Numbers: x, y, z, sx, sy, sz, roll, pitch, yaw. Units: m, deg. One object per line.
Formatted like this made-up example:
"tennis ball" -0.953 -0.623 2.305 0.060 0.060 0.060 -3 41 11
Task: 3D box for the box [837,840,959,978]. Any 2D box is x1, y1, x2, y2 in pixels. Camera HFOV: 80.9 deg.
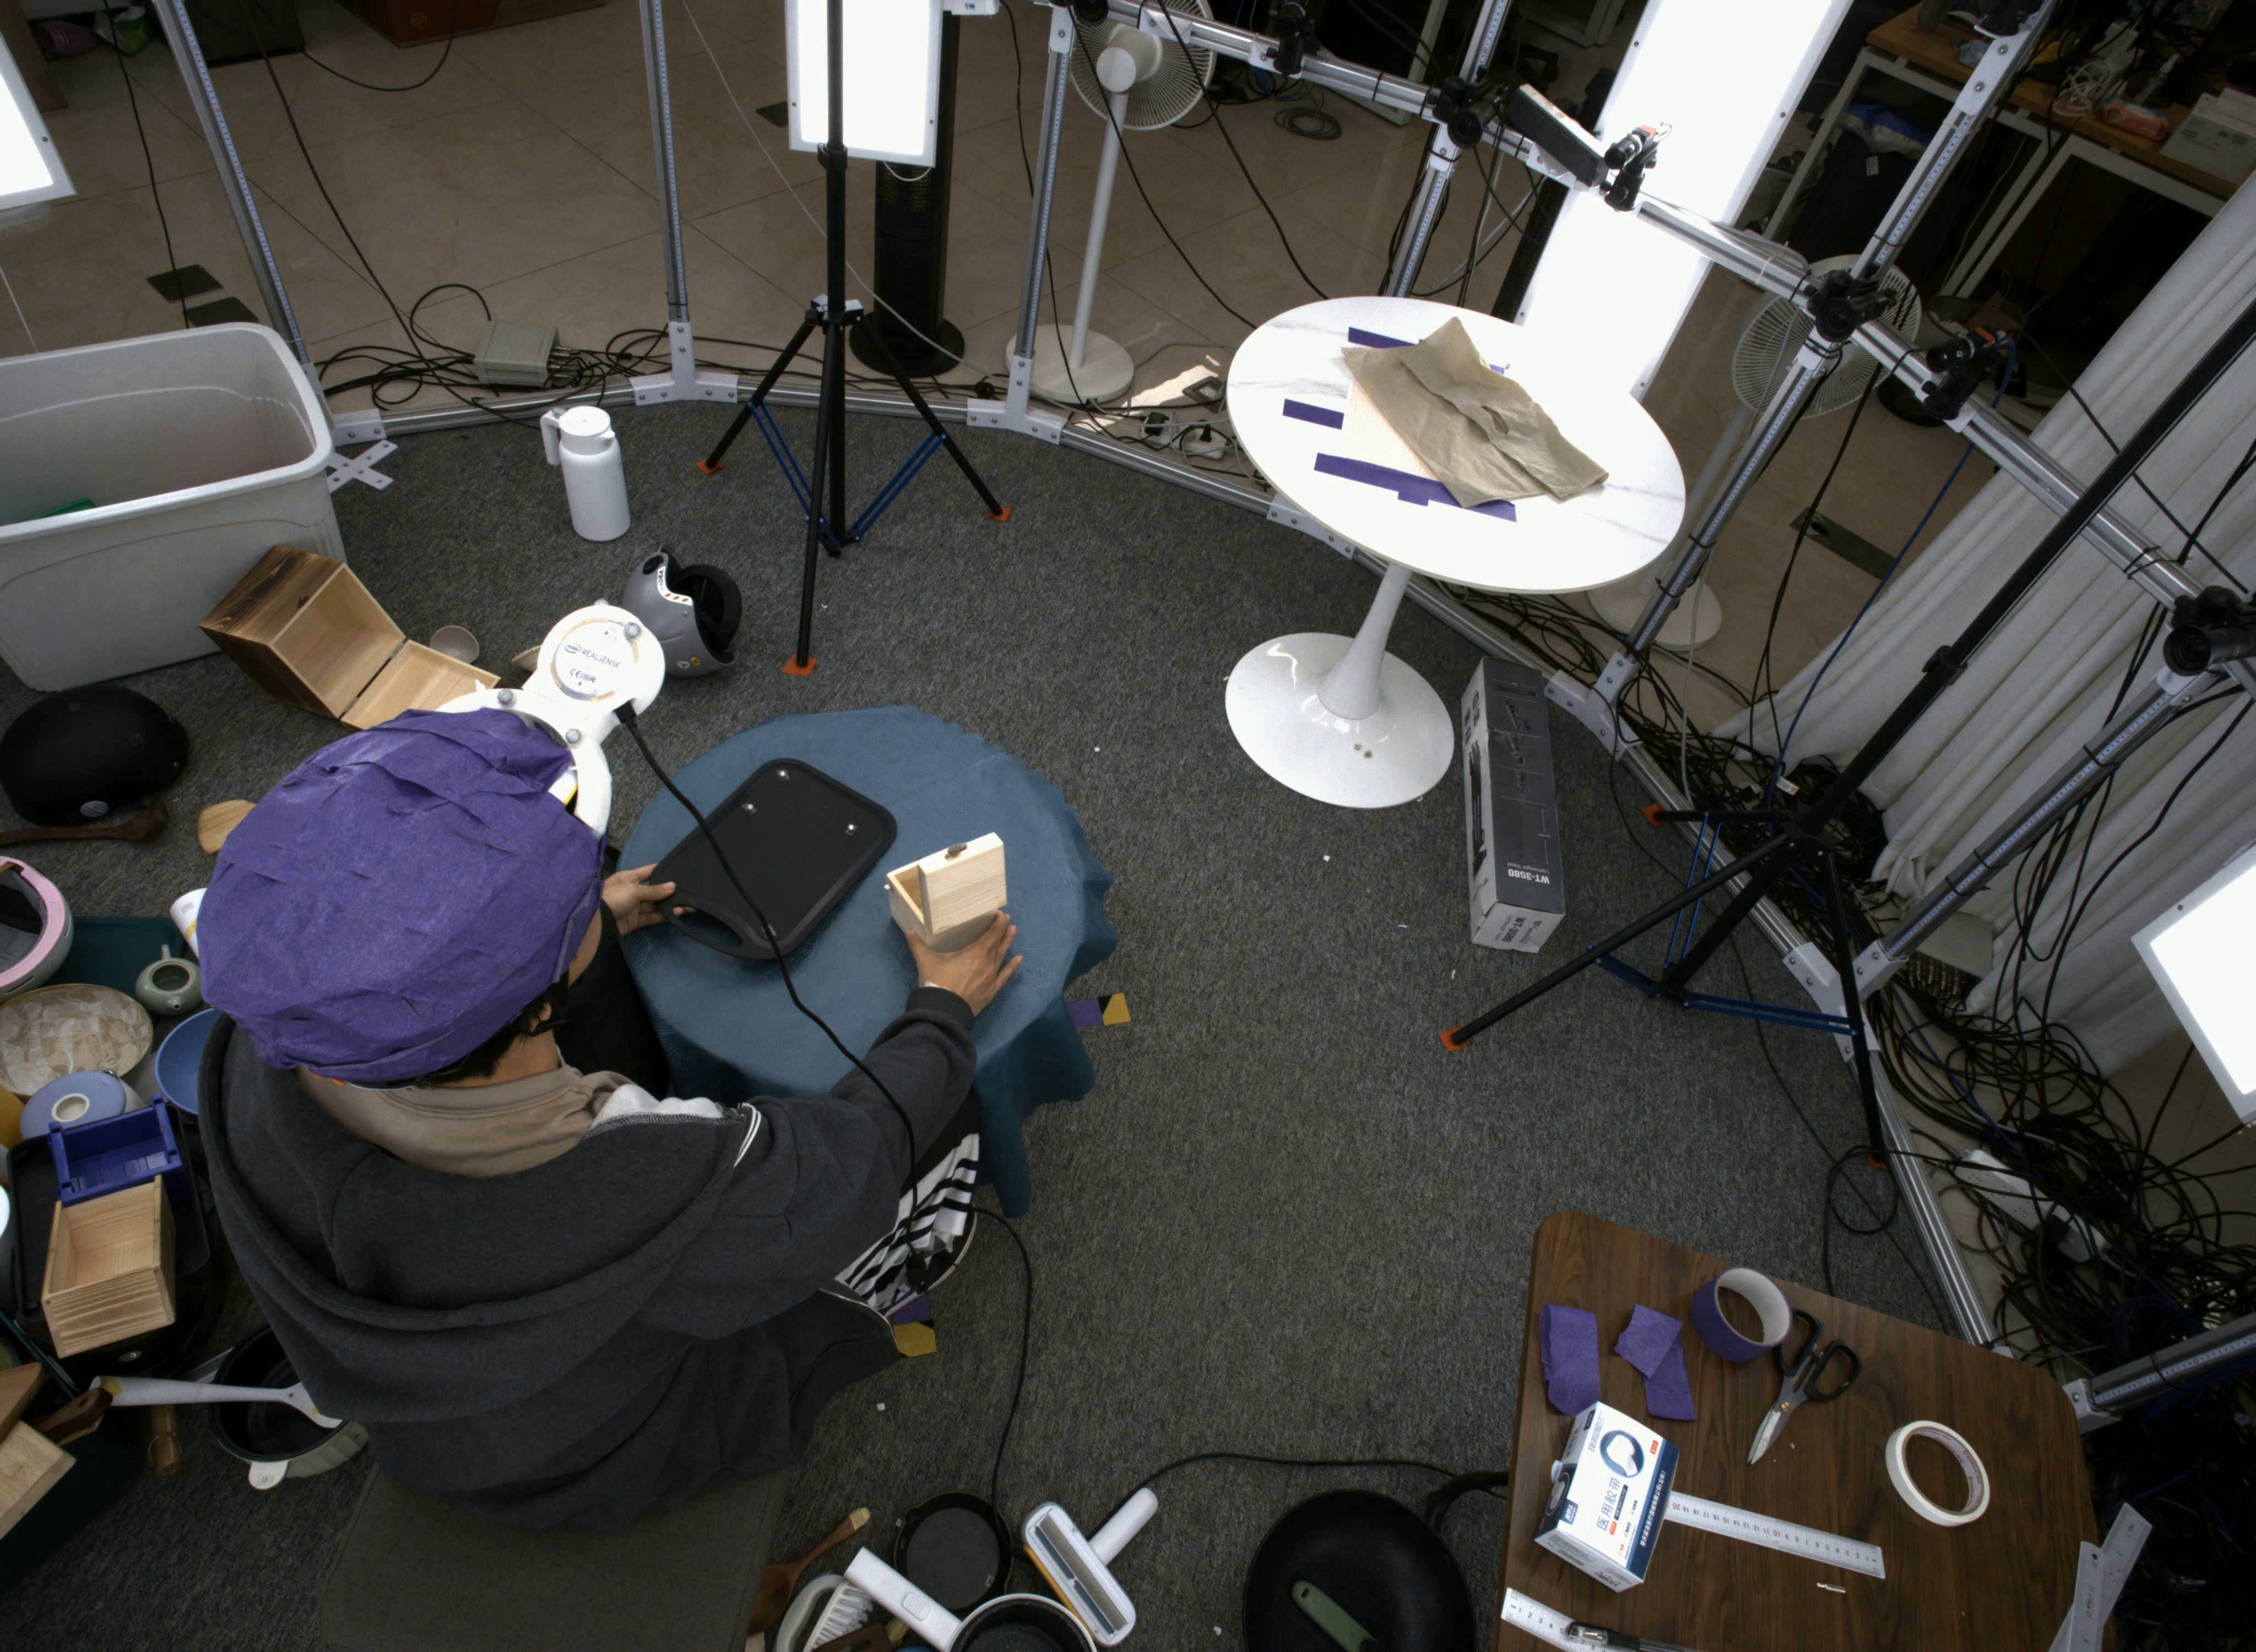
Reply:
"box" -0.281 0.076 1.571 0.103 0.190 0.129 -29 54 -27

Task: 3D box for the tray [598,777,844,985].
"tray" -0.512 0.063 1.626 0.209 0.010 0.323 28 45 3
